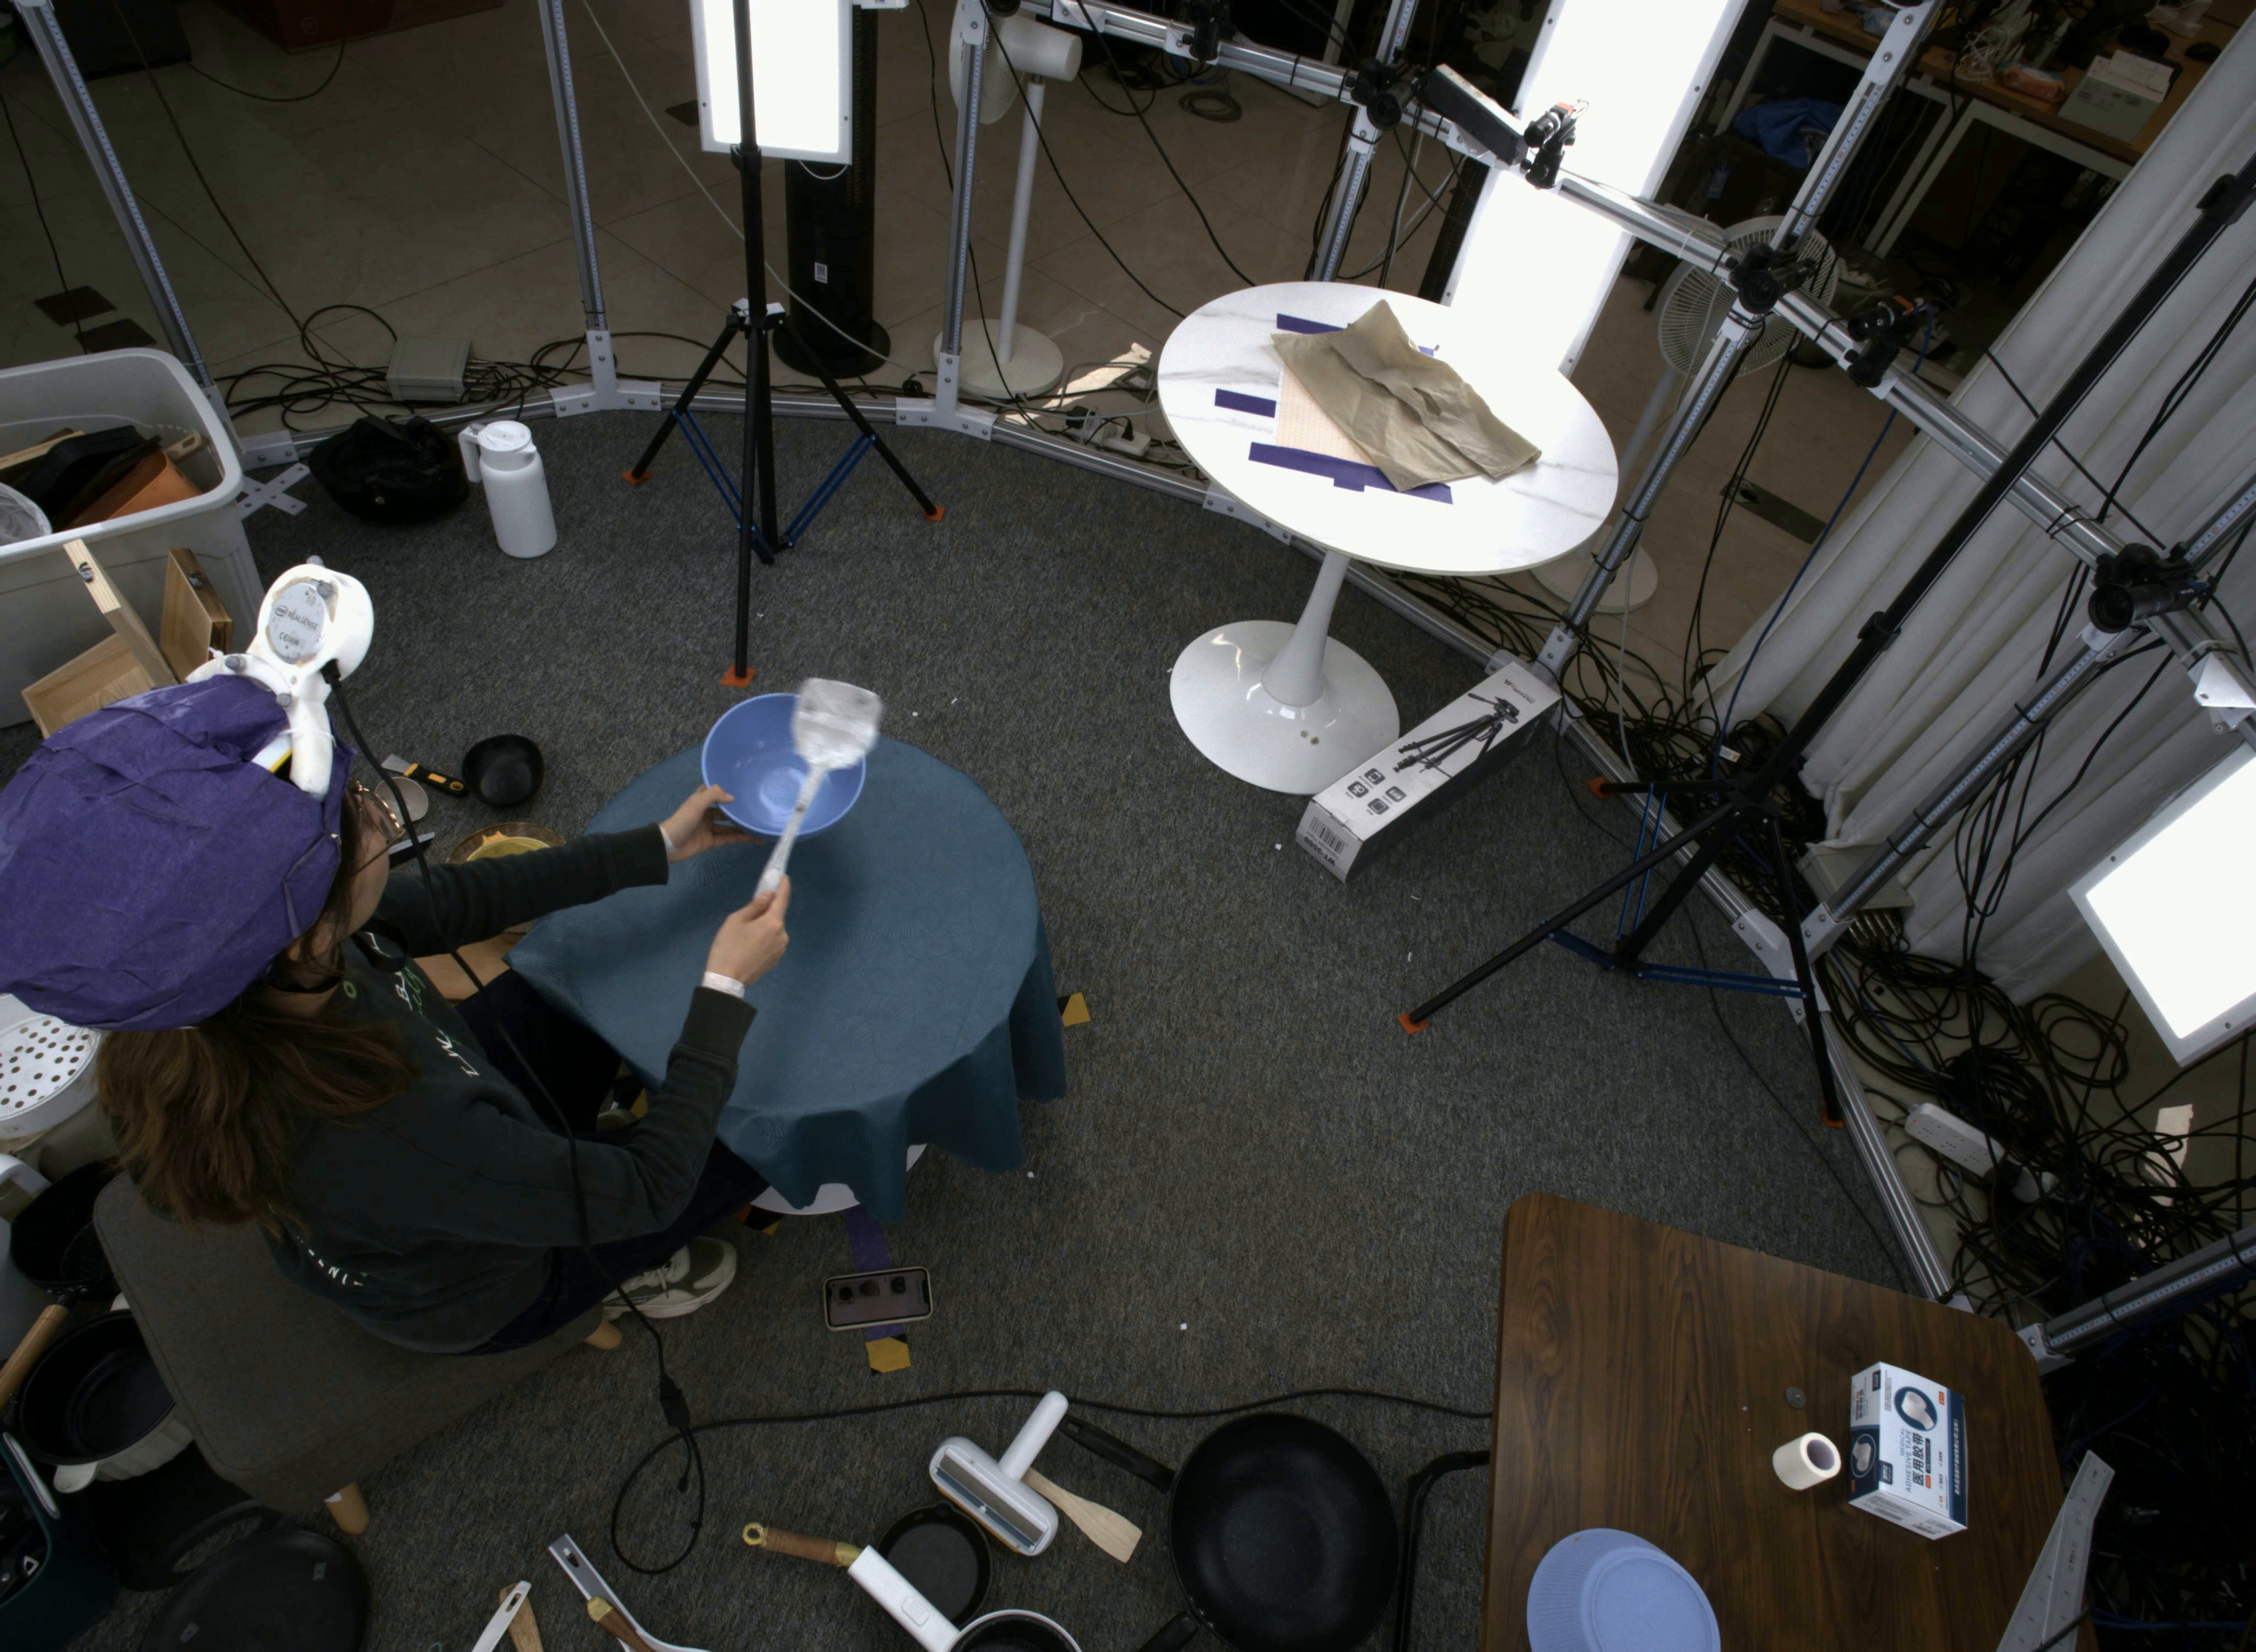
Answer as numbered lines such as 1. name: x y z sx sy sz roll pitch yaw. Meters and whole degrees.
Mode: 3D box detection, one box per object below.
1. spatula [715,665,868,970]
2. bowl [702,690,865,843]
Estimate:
1. spatula: -0.383 -0.013 1.428 0.098 0.045 0.362 17 63 -5
2. bowl: -0.432 -0.060 1.619 0.198 0.096 0.194 9 64 -16
